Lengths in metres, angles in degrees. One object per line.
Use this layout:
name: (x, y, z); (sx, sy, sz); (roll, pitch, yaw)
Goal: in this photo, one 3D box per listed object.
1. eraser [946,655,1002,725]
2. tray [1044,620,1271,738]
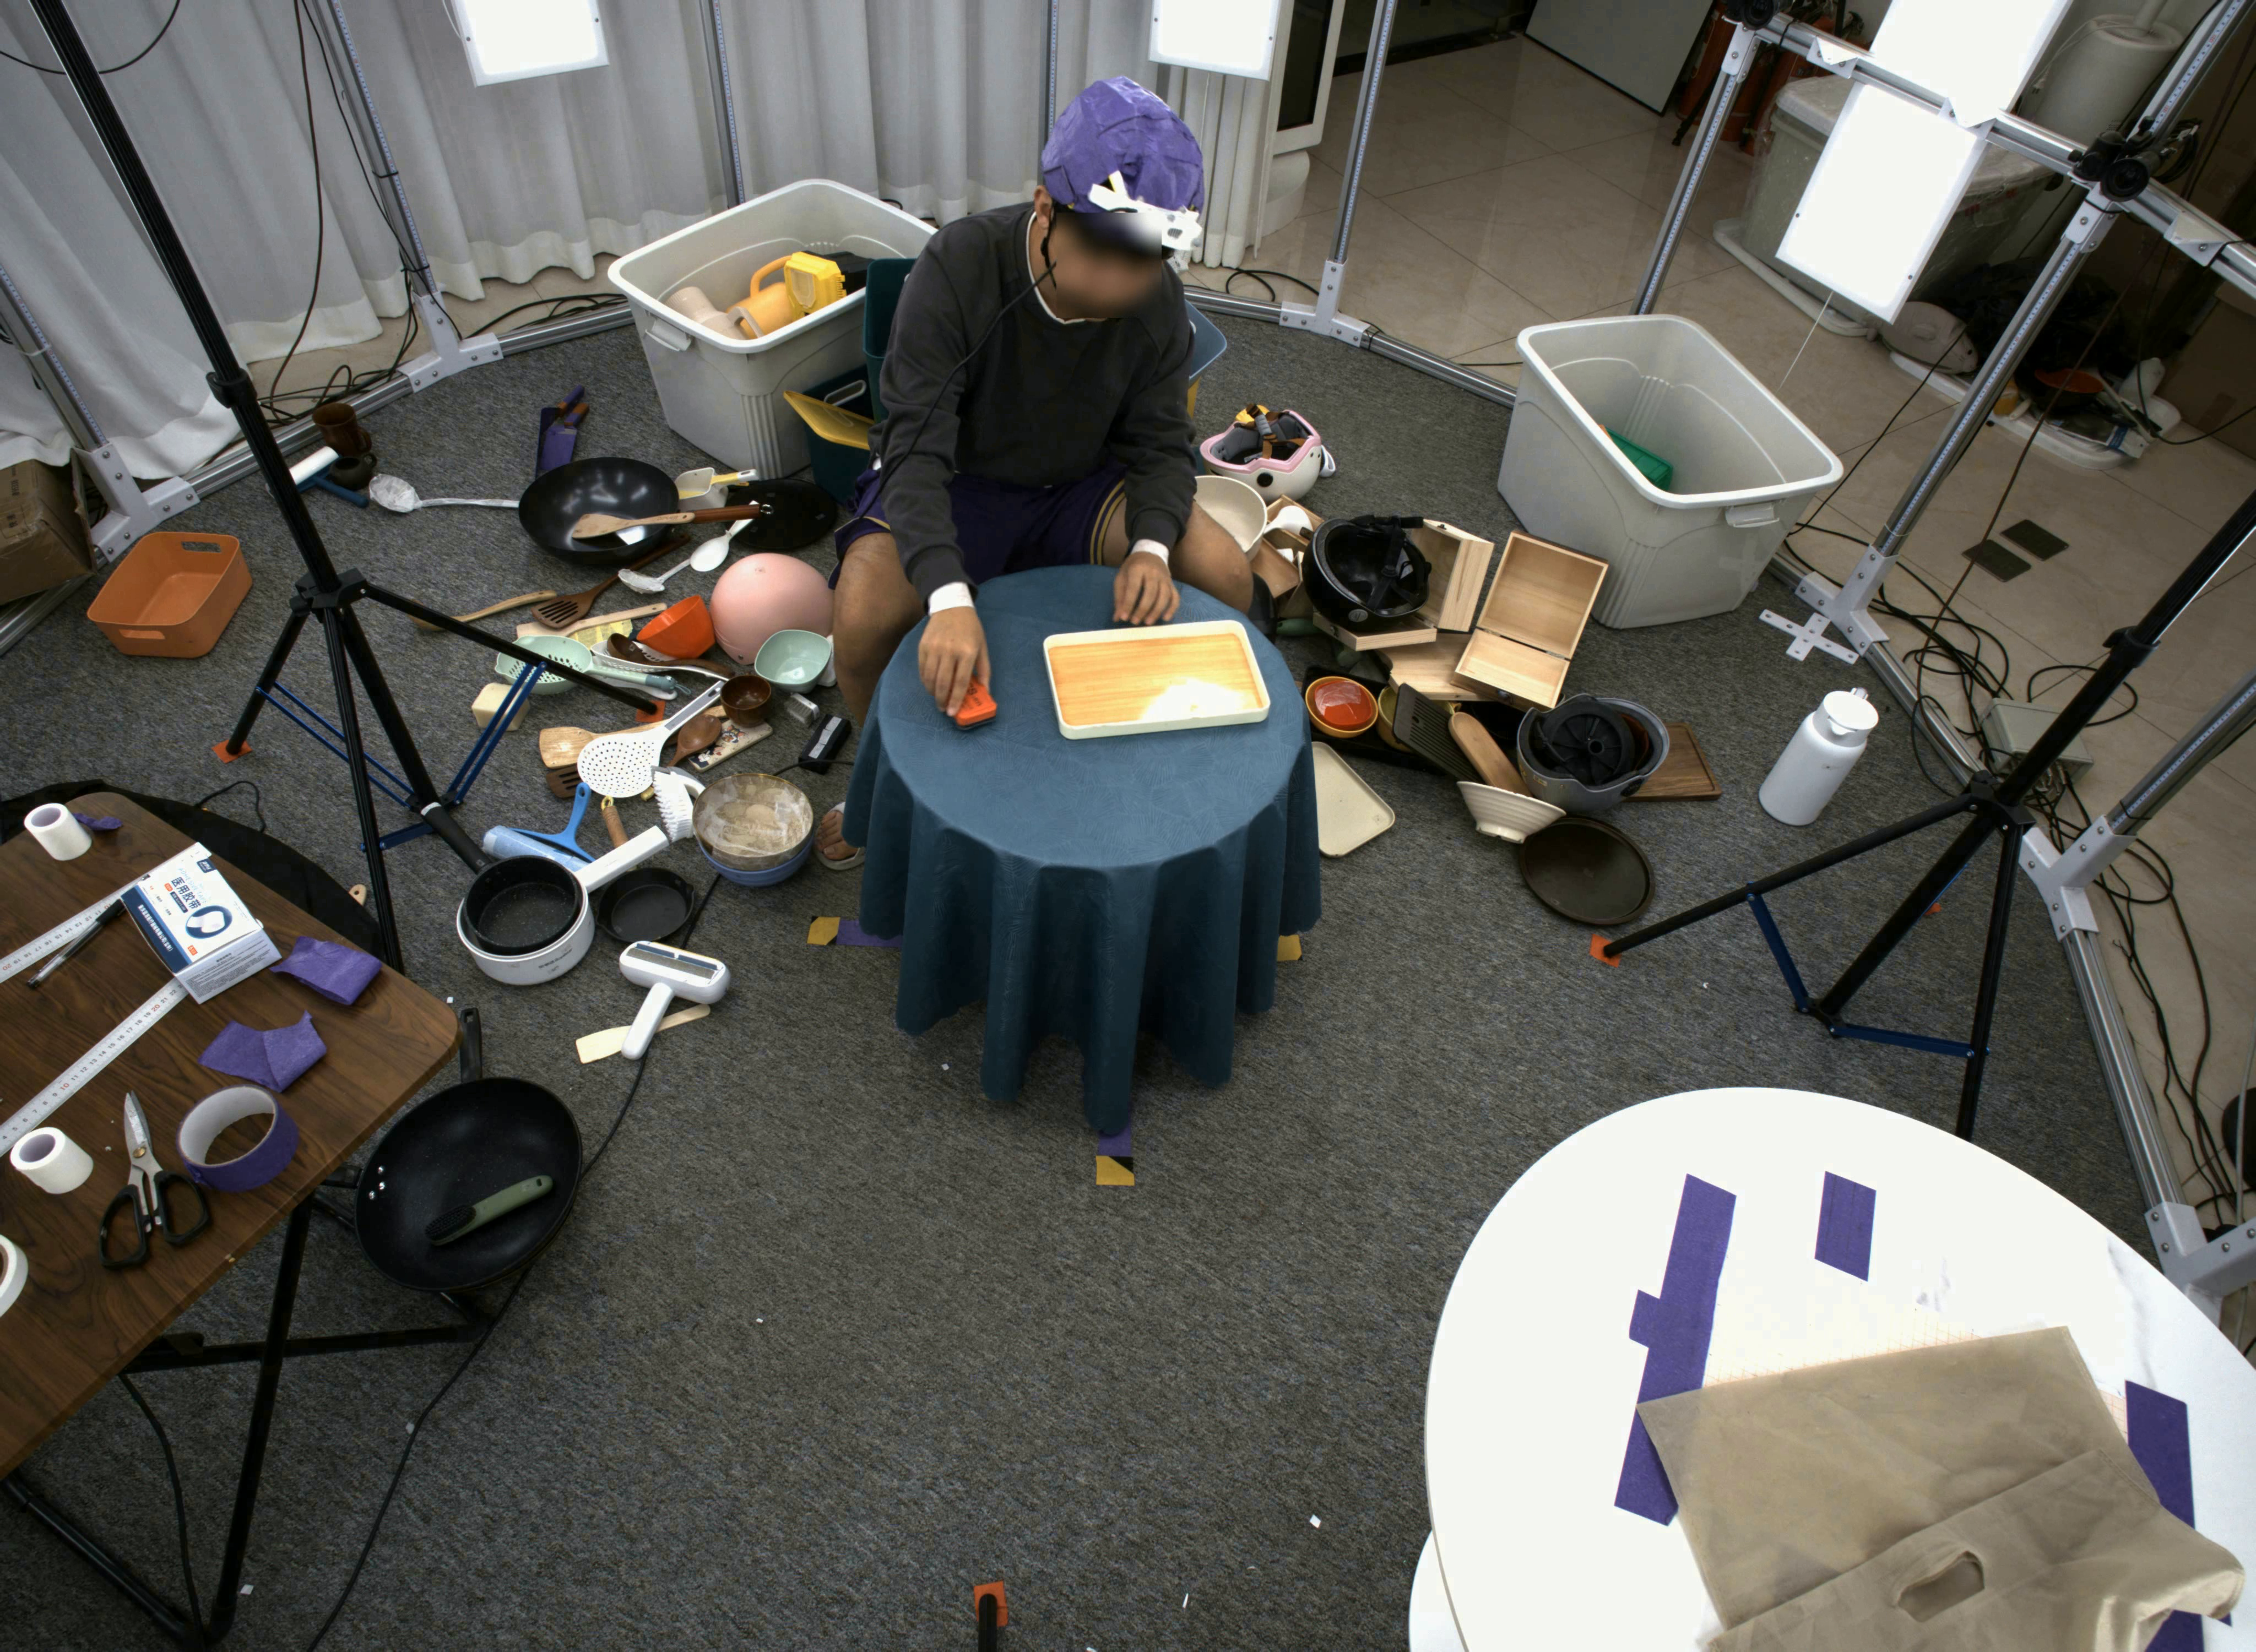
eraser: (-0.213, -0.190, 1.779); (0.059, 0.022, 0.110); (-10, 53, -15)
tray: (0.039, -0.213, 1.836); (0.300, 0.027, 0.196); (-6, 50, -9)
